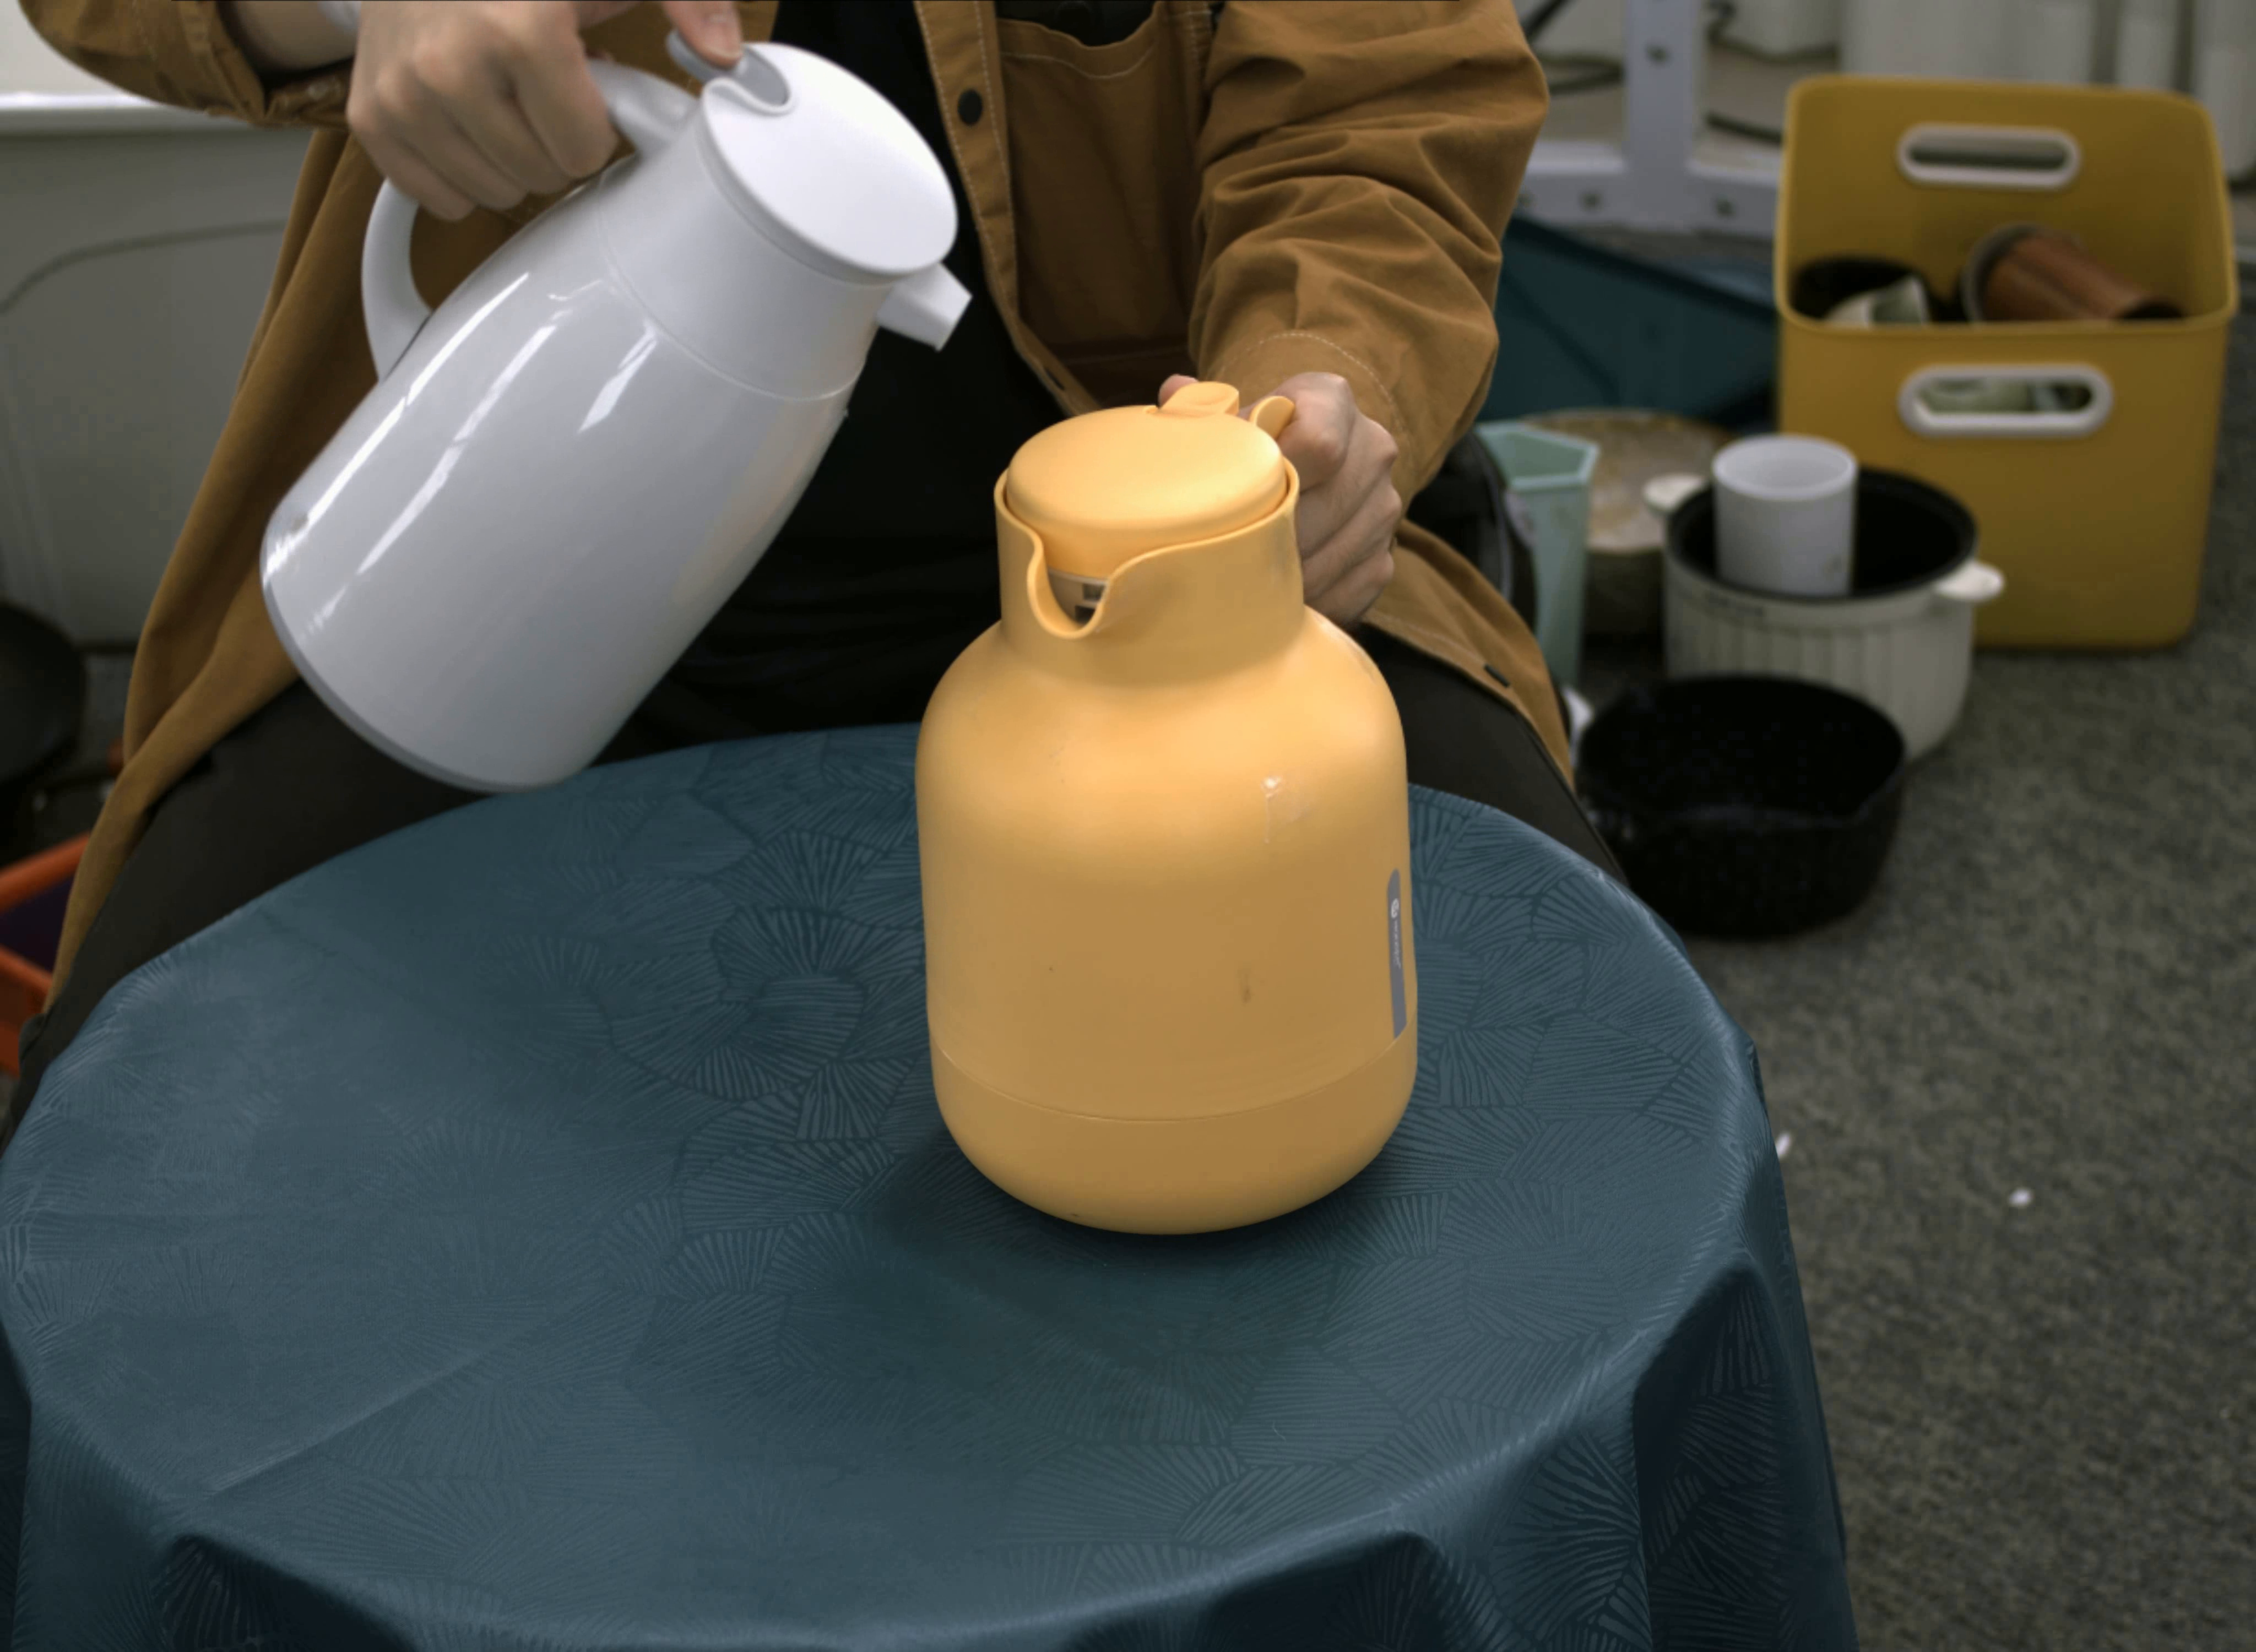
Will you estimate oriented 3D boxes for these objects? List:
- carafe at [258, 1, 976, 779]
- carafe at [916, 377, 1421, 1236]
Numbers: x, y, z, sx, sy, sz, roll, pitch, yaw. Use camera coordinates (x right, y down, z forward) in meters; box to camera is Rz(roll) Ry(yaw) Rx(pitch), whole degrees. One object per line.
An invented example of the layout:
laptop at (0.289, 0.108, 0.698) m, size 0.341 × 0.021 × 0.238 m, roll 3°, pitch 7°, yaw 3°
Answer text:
carafe at (-0.170, -0.151, 1.771) m, size 0.167 × 0.244 × 0.135 m, roll 39°, pitch 33°, yaw -9°
carafe at (0.021, -0.015, 1.844) m, size 0.162 × 0.257 × 0.206 m, roll 10°, pitch 30°, yaw 21°
